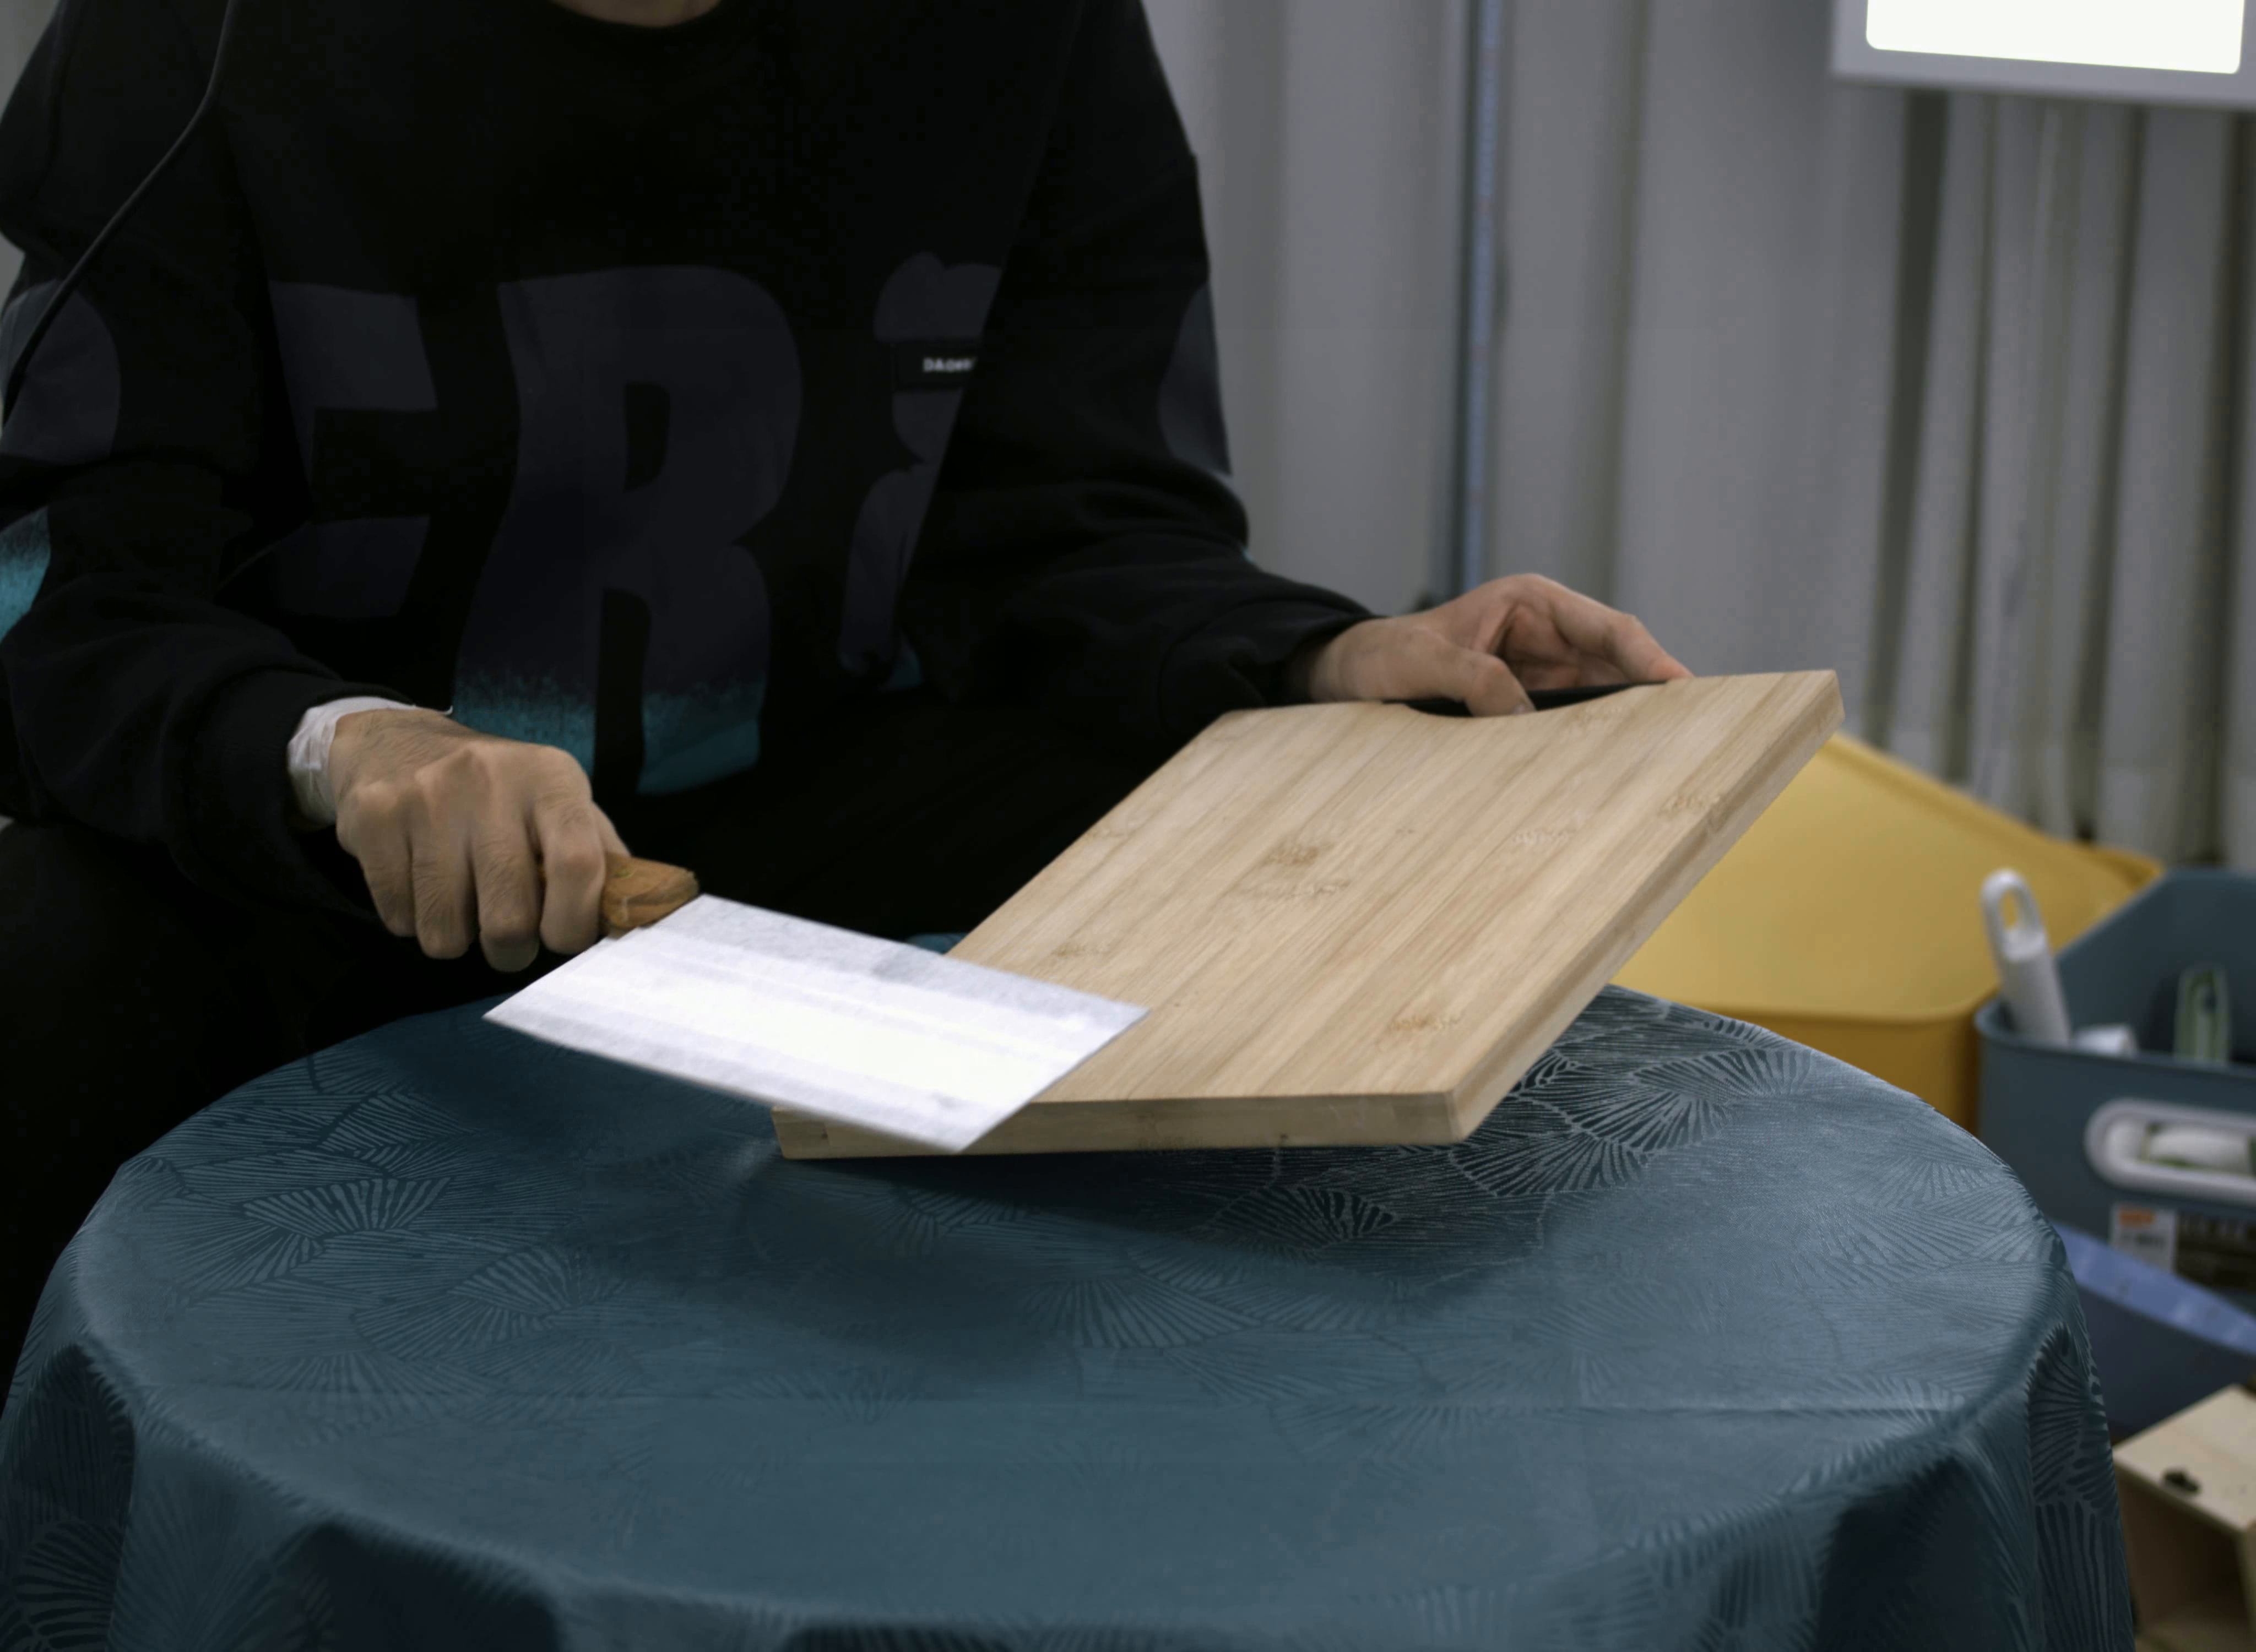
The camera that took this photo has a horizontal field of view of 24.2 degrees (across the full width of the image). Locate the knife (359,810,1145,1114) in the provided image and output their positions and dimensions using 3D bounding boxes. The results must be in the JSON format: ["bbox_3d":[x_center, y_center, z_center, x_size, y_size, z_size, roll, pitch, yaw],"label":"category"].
[{"bbox_3d":[-0.135,0.043,1.586,0.302,0.021,0.093,13,33,36],"label":"knife"}]

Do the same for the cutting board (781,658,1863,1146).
[{"bbox_3d":[0.071,0.023,1.730,0.248,0.024,0.348,-4,21,29],"label":"cutting board"}]
